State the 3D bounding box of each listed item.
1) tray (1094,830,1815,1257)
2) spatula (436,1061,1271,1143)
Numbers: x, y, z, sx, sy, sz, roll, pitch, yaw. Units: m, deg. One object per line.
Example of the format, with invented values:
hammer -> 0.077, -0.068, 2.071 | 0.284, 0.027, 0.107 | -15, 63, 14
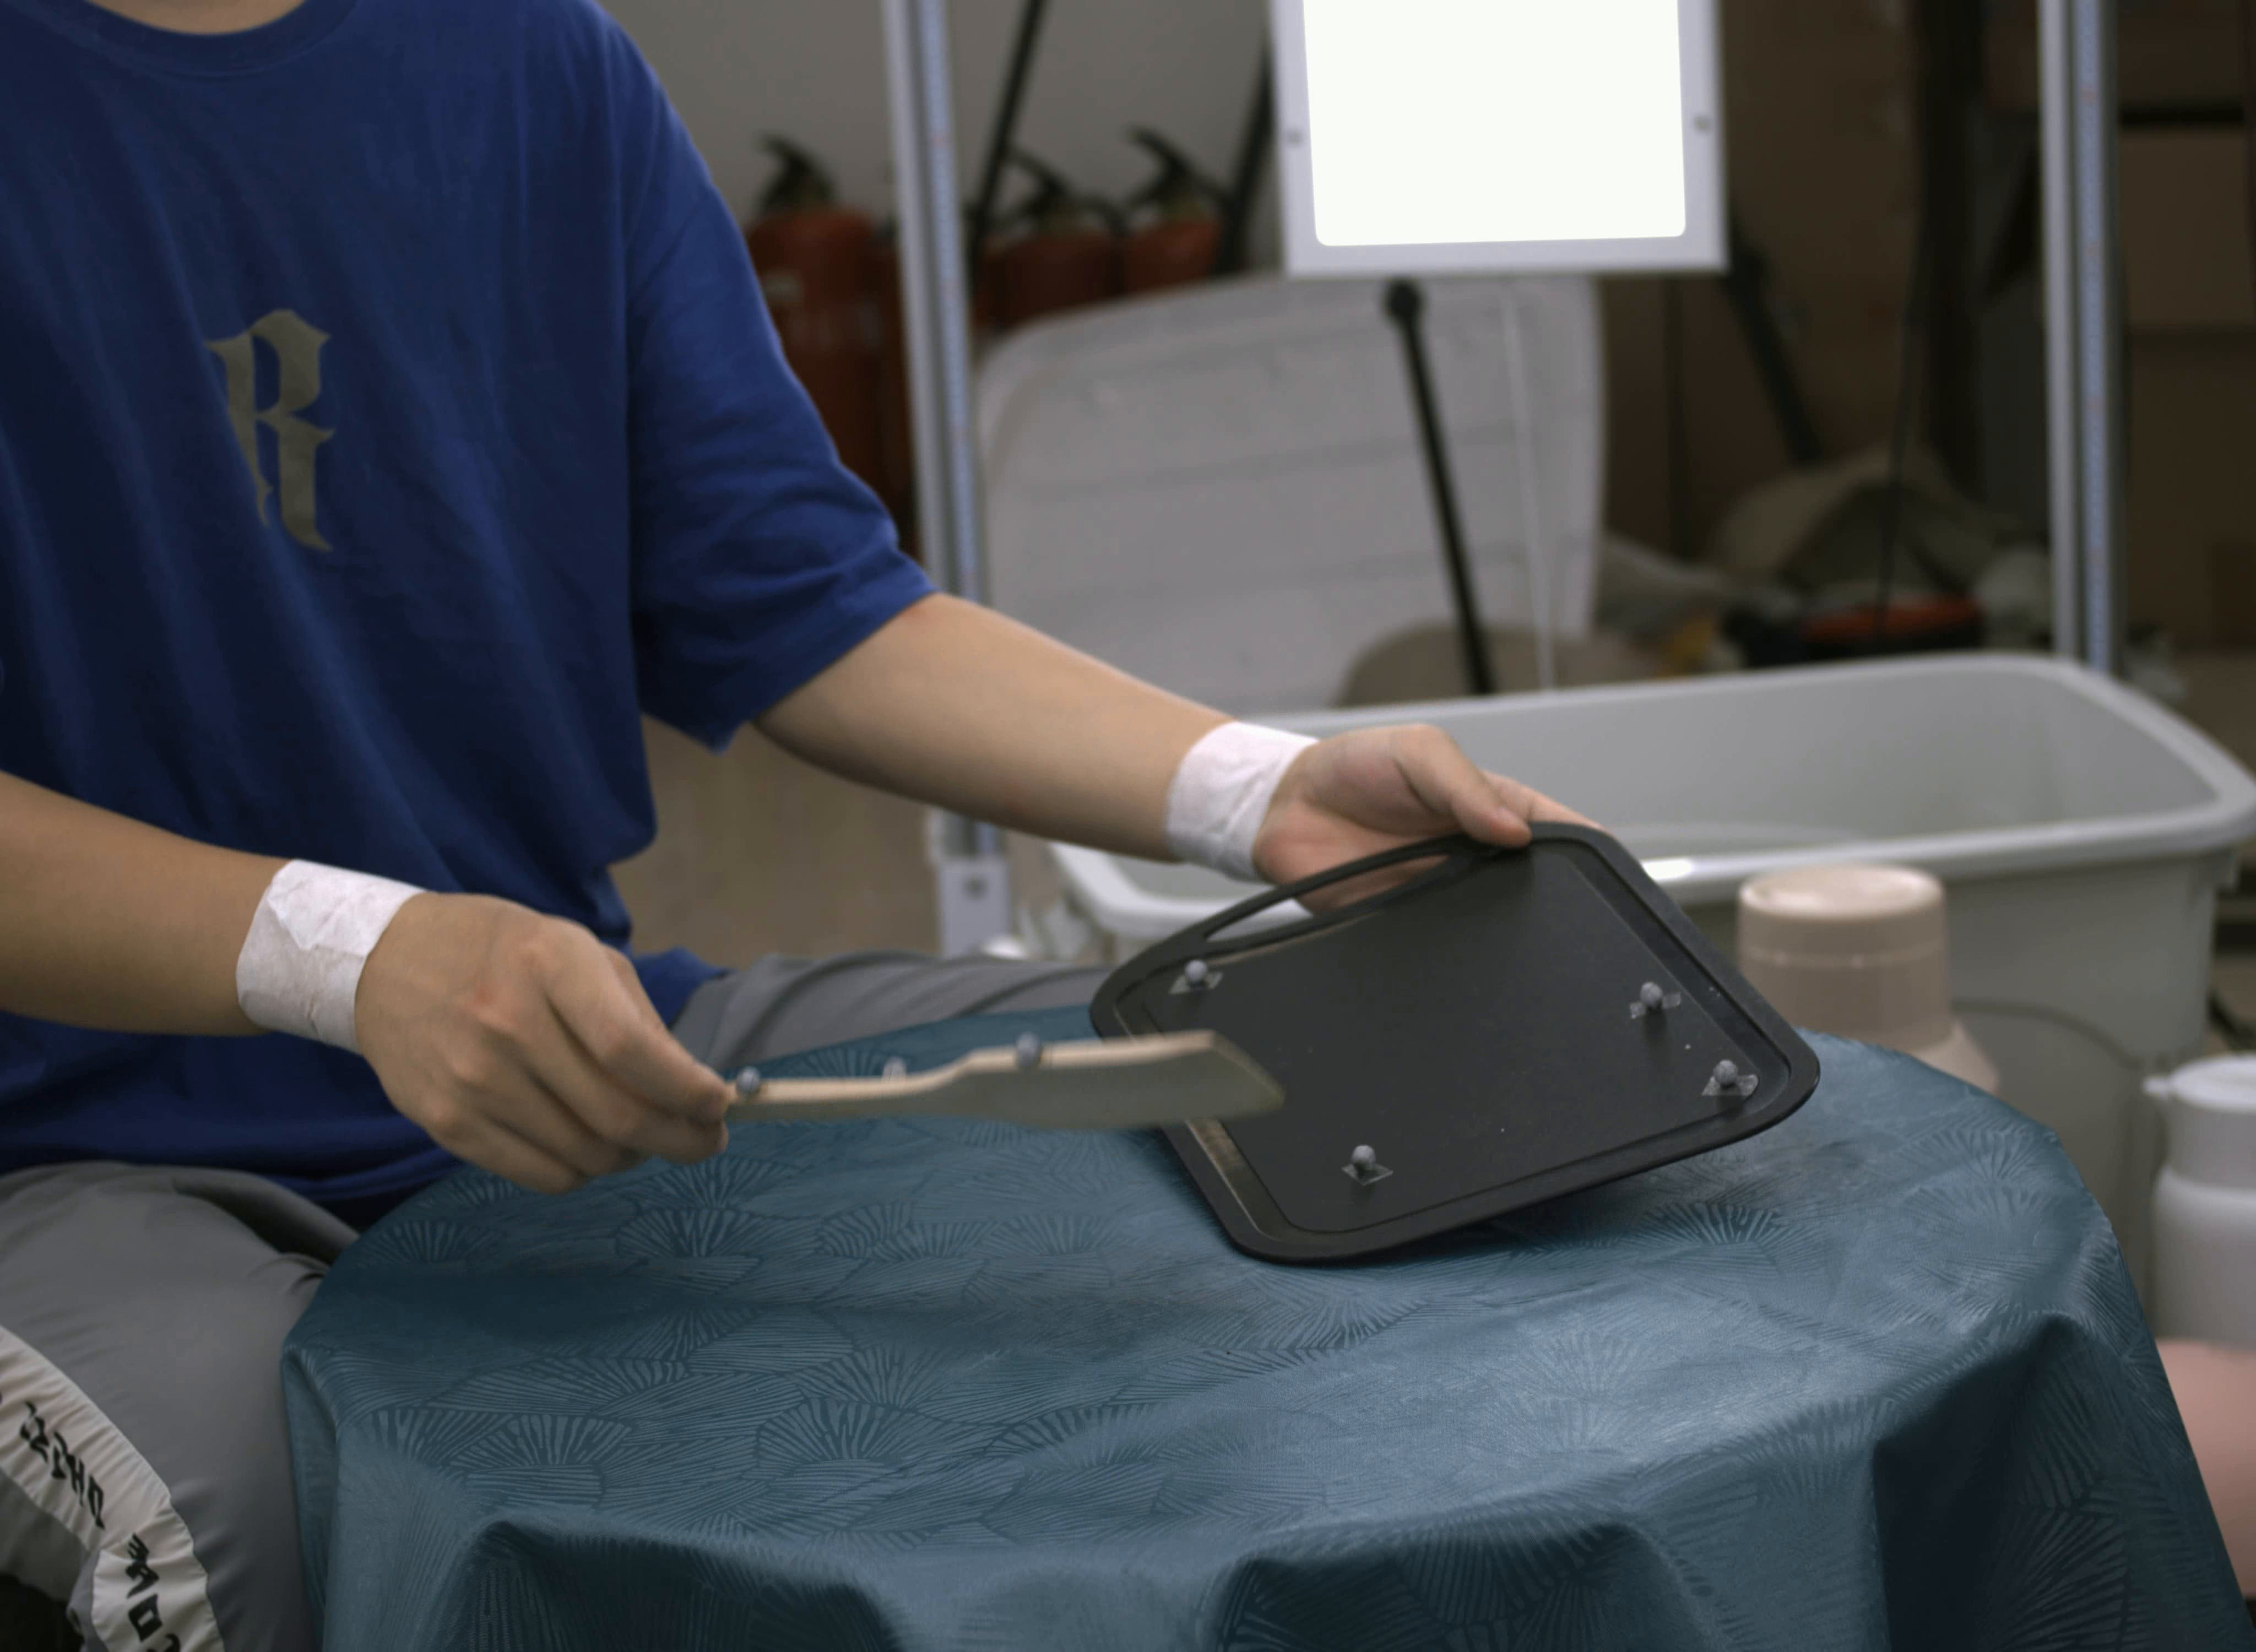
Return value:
tray -> 0.106, 0.069, 1.951 | 0.210, 0.010, 0.327 | -18, 21, -5
spatula -> -0.099, 0.092, 1.814 | 0.298, 0.010, 0.071 | -2, -19, 25
